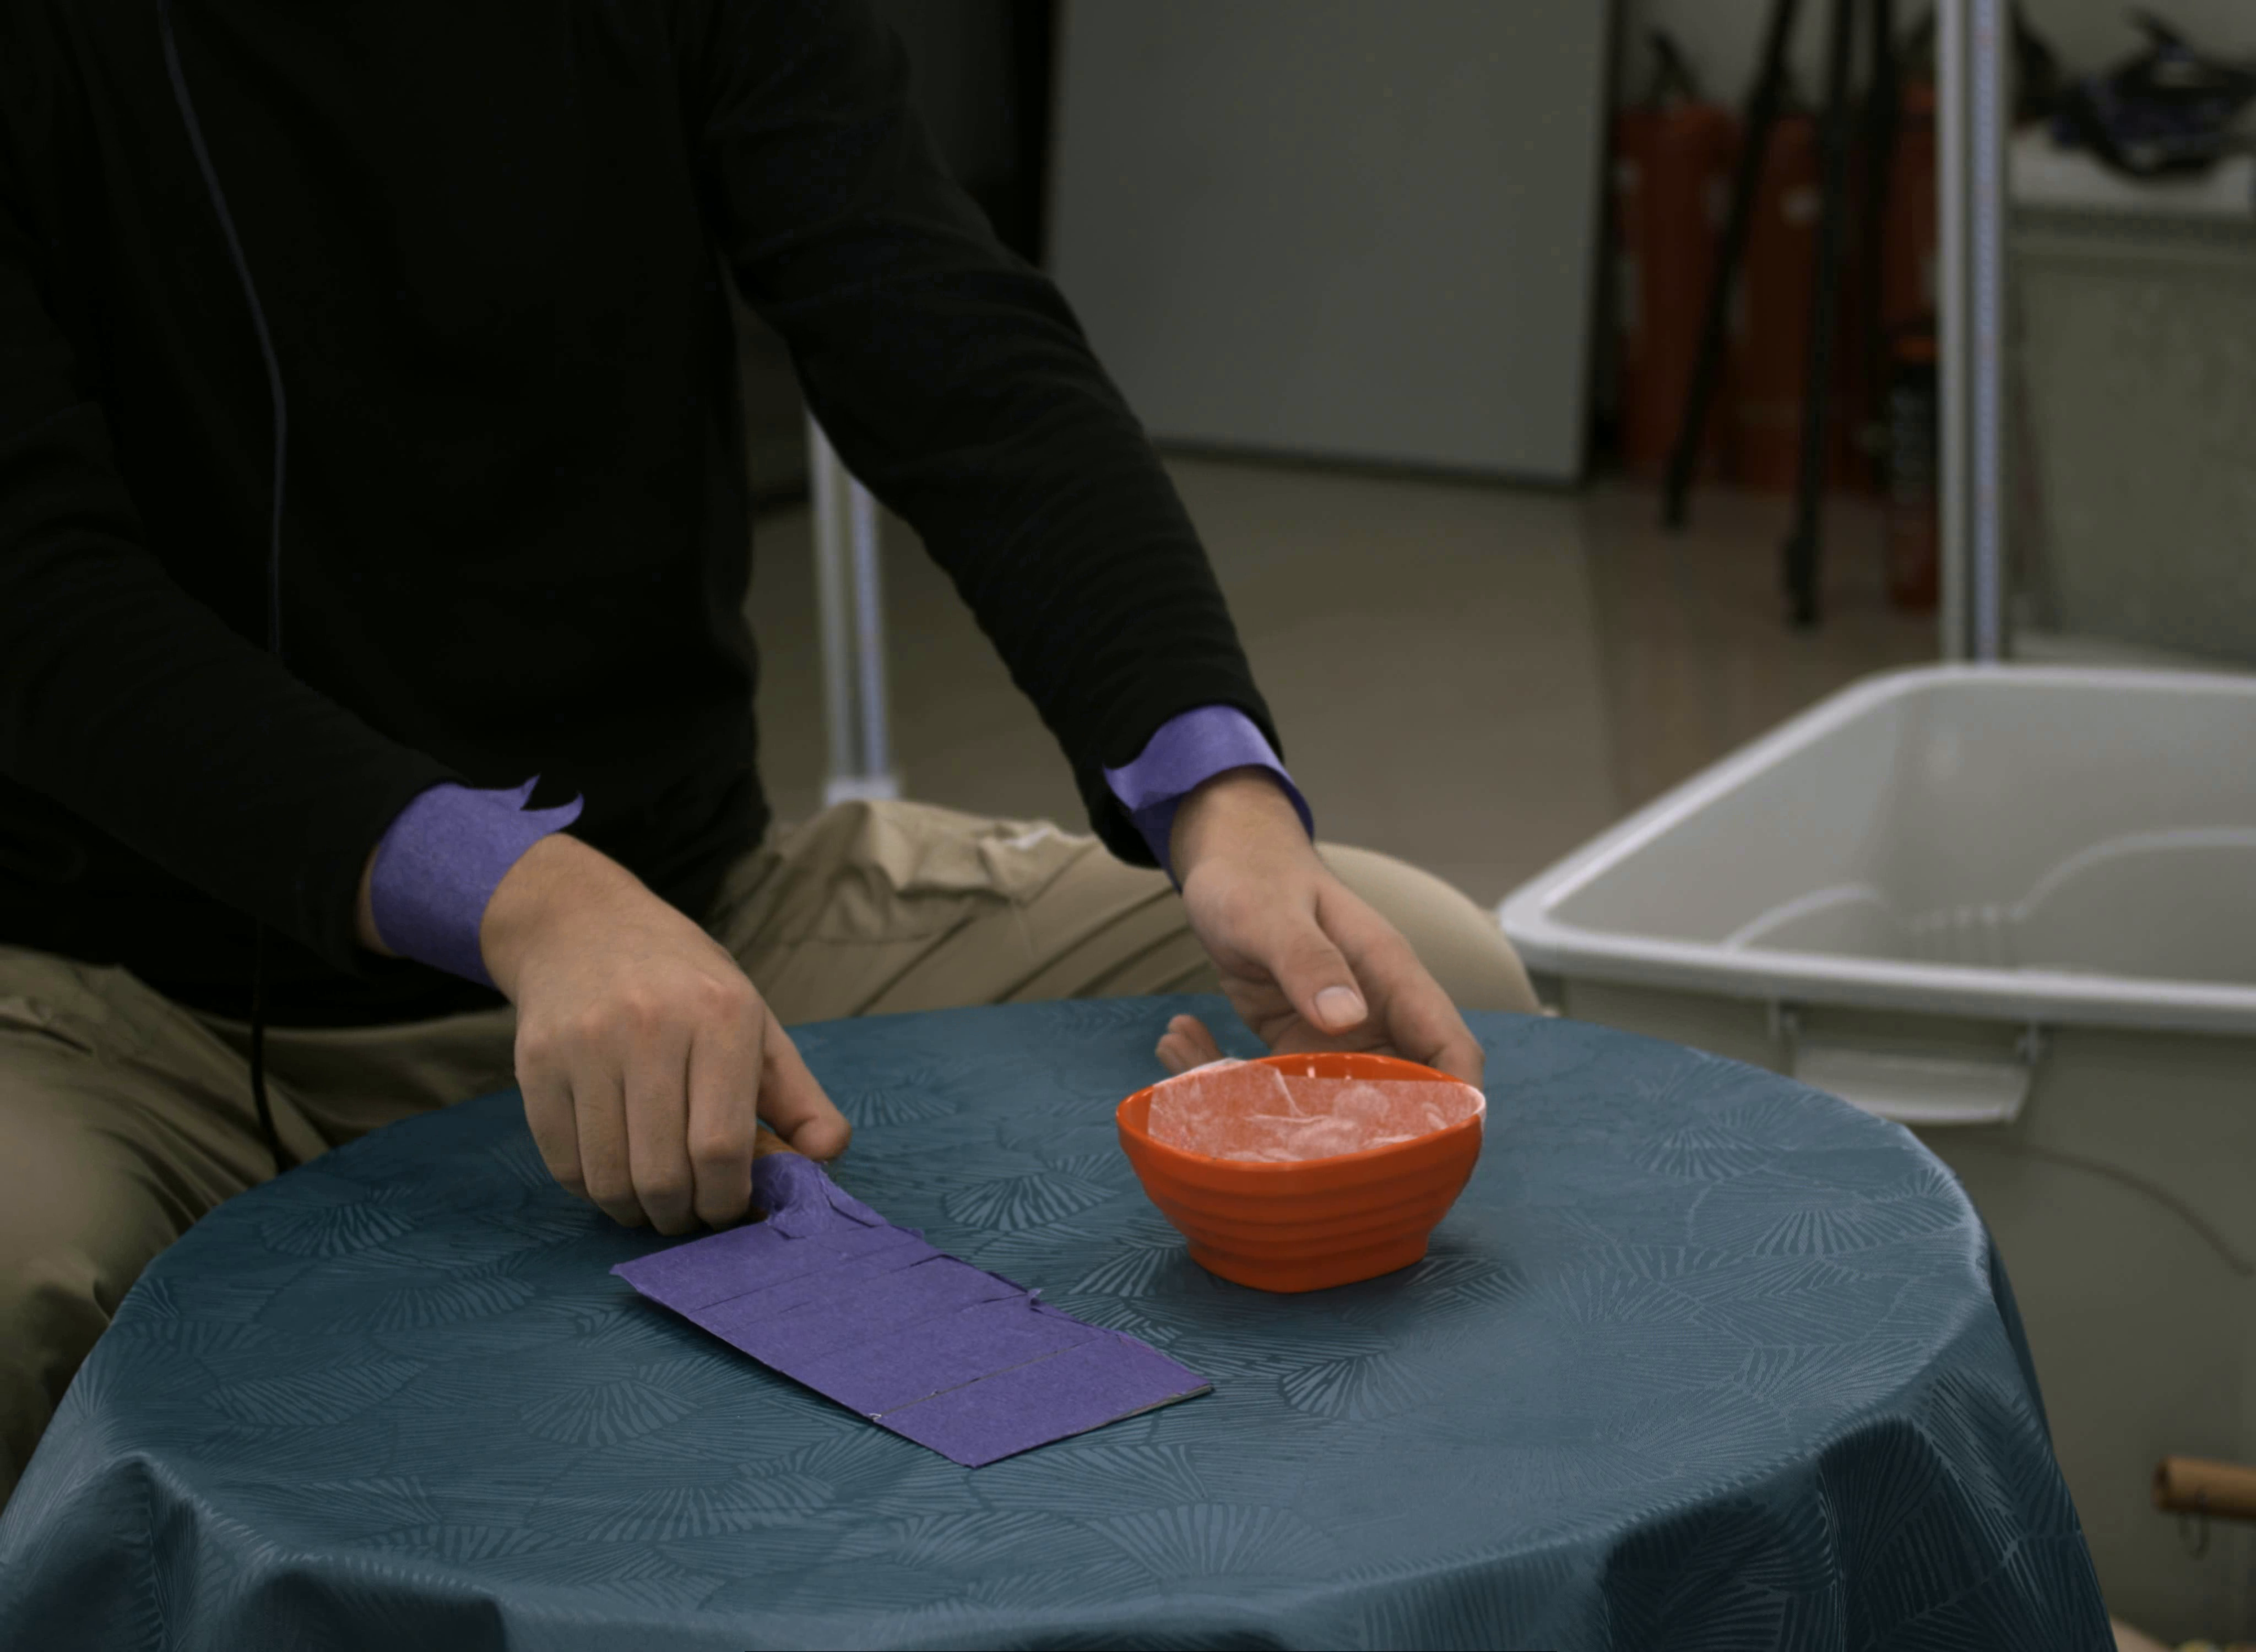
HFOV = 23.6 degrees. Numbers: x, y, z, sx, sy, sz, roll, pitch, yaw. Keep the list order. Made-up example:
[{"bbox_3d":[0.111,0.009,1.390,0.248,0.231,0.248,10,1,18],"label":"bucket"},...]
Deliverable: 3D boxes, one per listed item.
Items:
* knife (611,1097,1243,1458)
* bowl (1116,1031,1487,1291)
[{"bbox_3d":[-0.095,0.138,1.682,0.101,0.032,0.318,-13,17,-33],"label":"knife"},{"bbox_3d":[0.055,0.107,1.693,0.117,0.052,0.119,-4,18,0],"label":"bowl"}]
